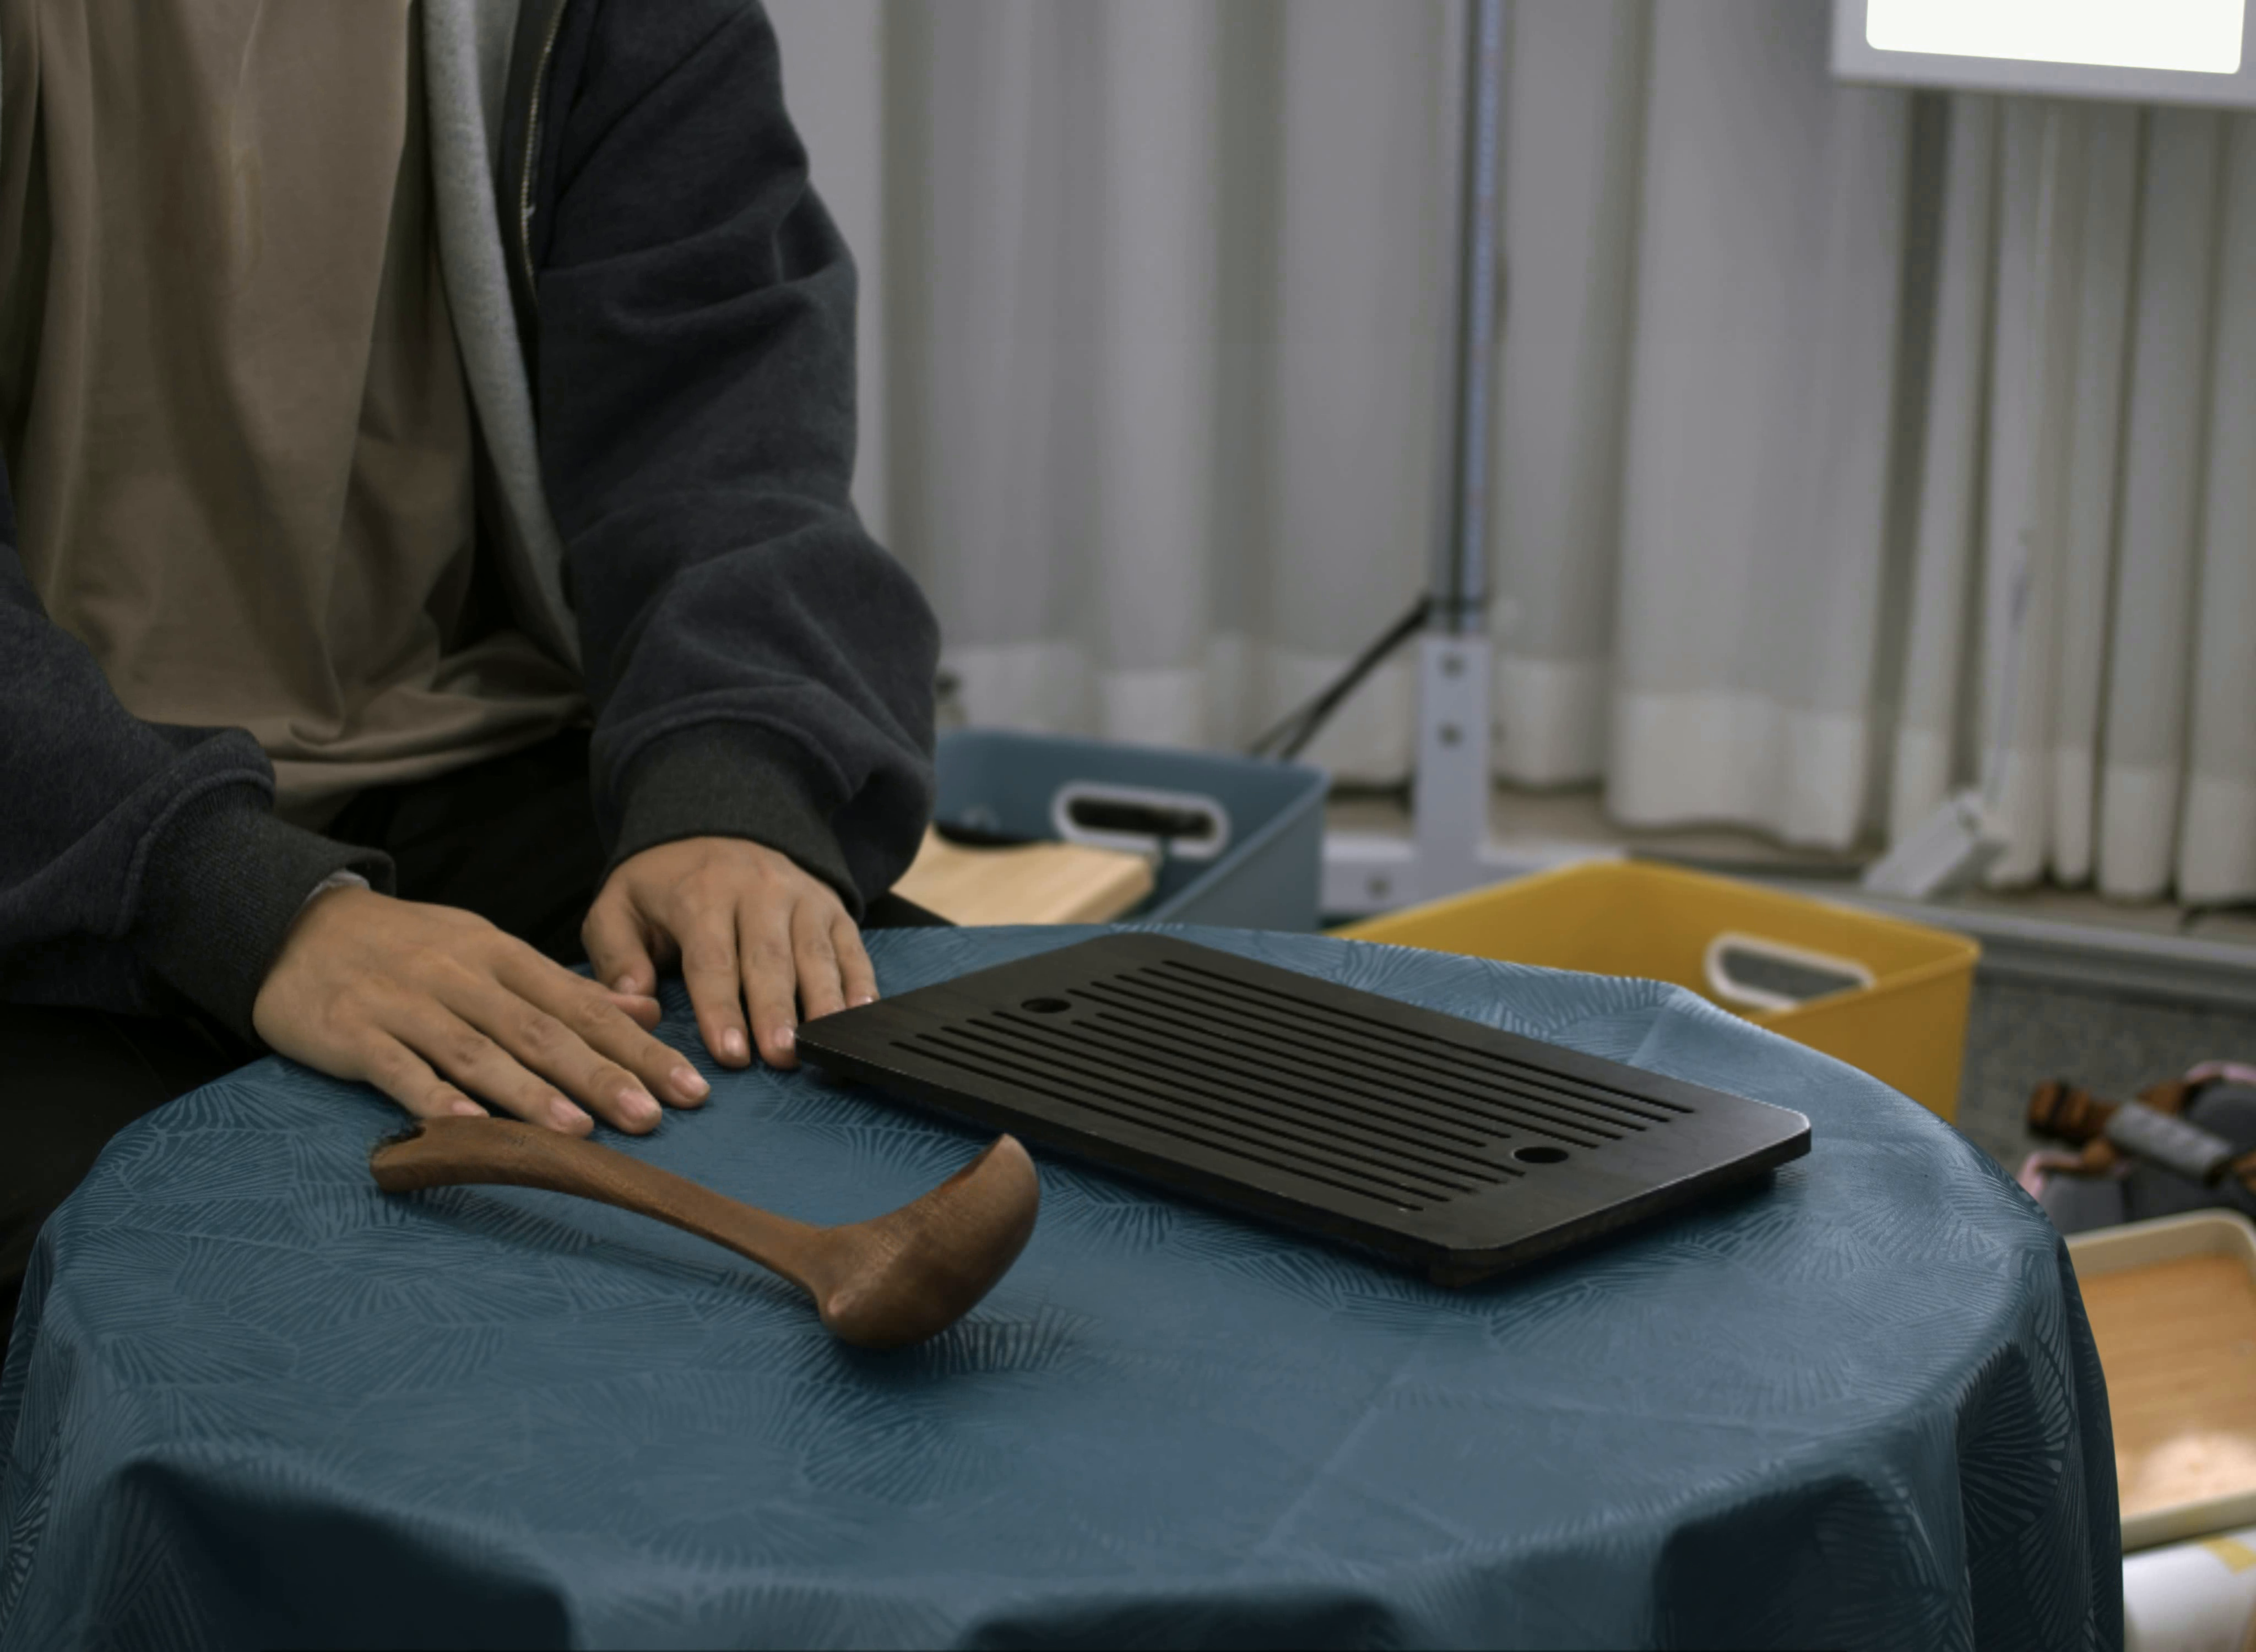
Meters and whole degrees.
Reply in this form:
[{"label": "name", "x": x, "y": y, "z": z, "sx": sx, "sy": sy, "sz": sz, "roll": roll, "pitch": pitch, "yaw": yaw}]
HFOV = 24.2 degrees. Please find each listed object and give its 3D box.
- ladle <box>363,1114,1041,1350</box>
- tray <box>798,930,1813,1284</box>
[{"label": "ladle", "x": -0.134, "y": 0.101, "z": 1.538, "sx": 0.257, "sy": 0.066, "sz": 0.076, "roll": 12, "pitch": 39, "yaw": 35}, {"label": "tray", "x": 0.052, "y": 0.086, "z": 1.685, "sx": 0.302, "sy": 0.019, "sz": 0.171, "roll": 15, "pitch": 21, "yaw": 42}]
